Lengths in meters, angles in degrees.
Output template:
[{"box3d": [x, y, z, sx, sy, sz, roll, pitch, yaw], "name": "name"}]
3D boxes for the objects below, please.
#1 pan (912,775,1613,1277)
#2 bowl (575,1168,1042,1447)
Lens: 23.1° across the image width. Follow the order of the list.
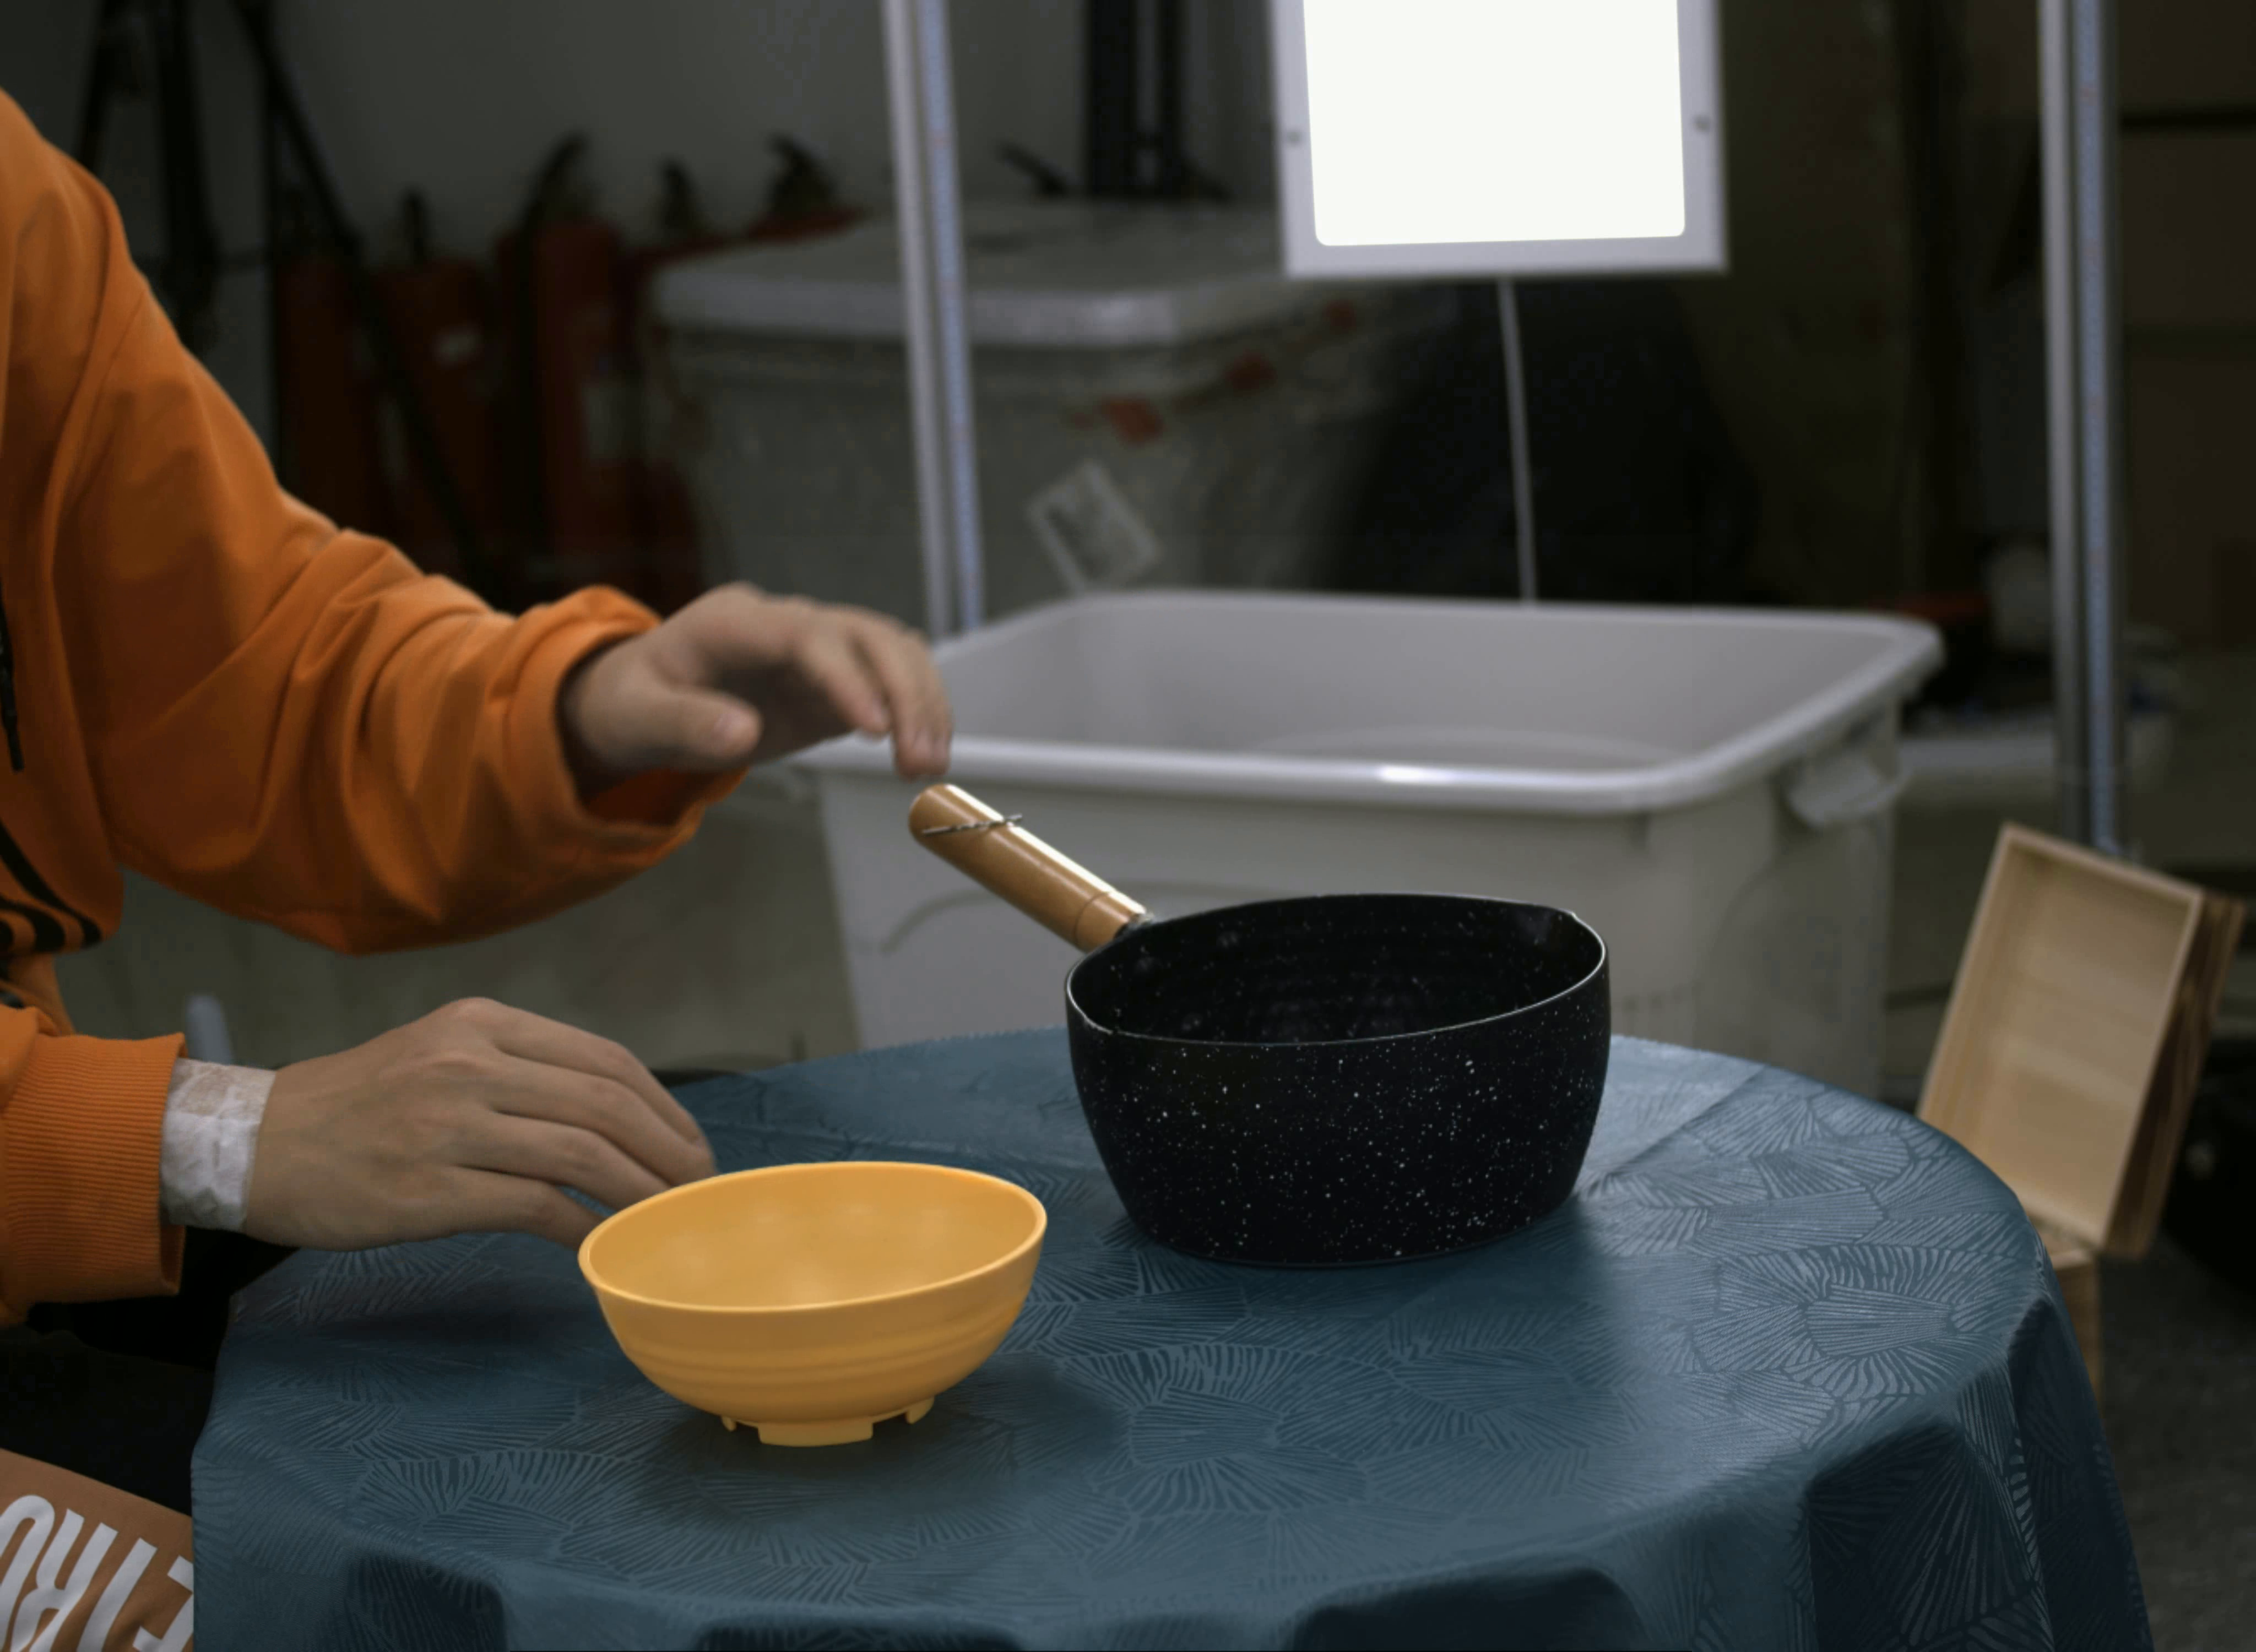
[{"box3d": [0.026, 0.063, 1.919, 0.202, 0.108, 0.349, -16, 19, -32], "name": "pan"}, {"box3d": [-0.097, 0.153, 1.702, 0.145, 0.060, 0.145, -4, 13, 0], "name": "bowl"}]
